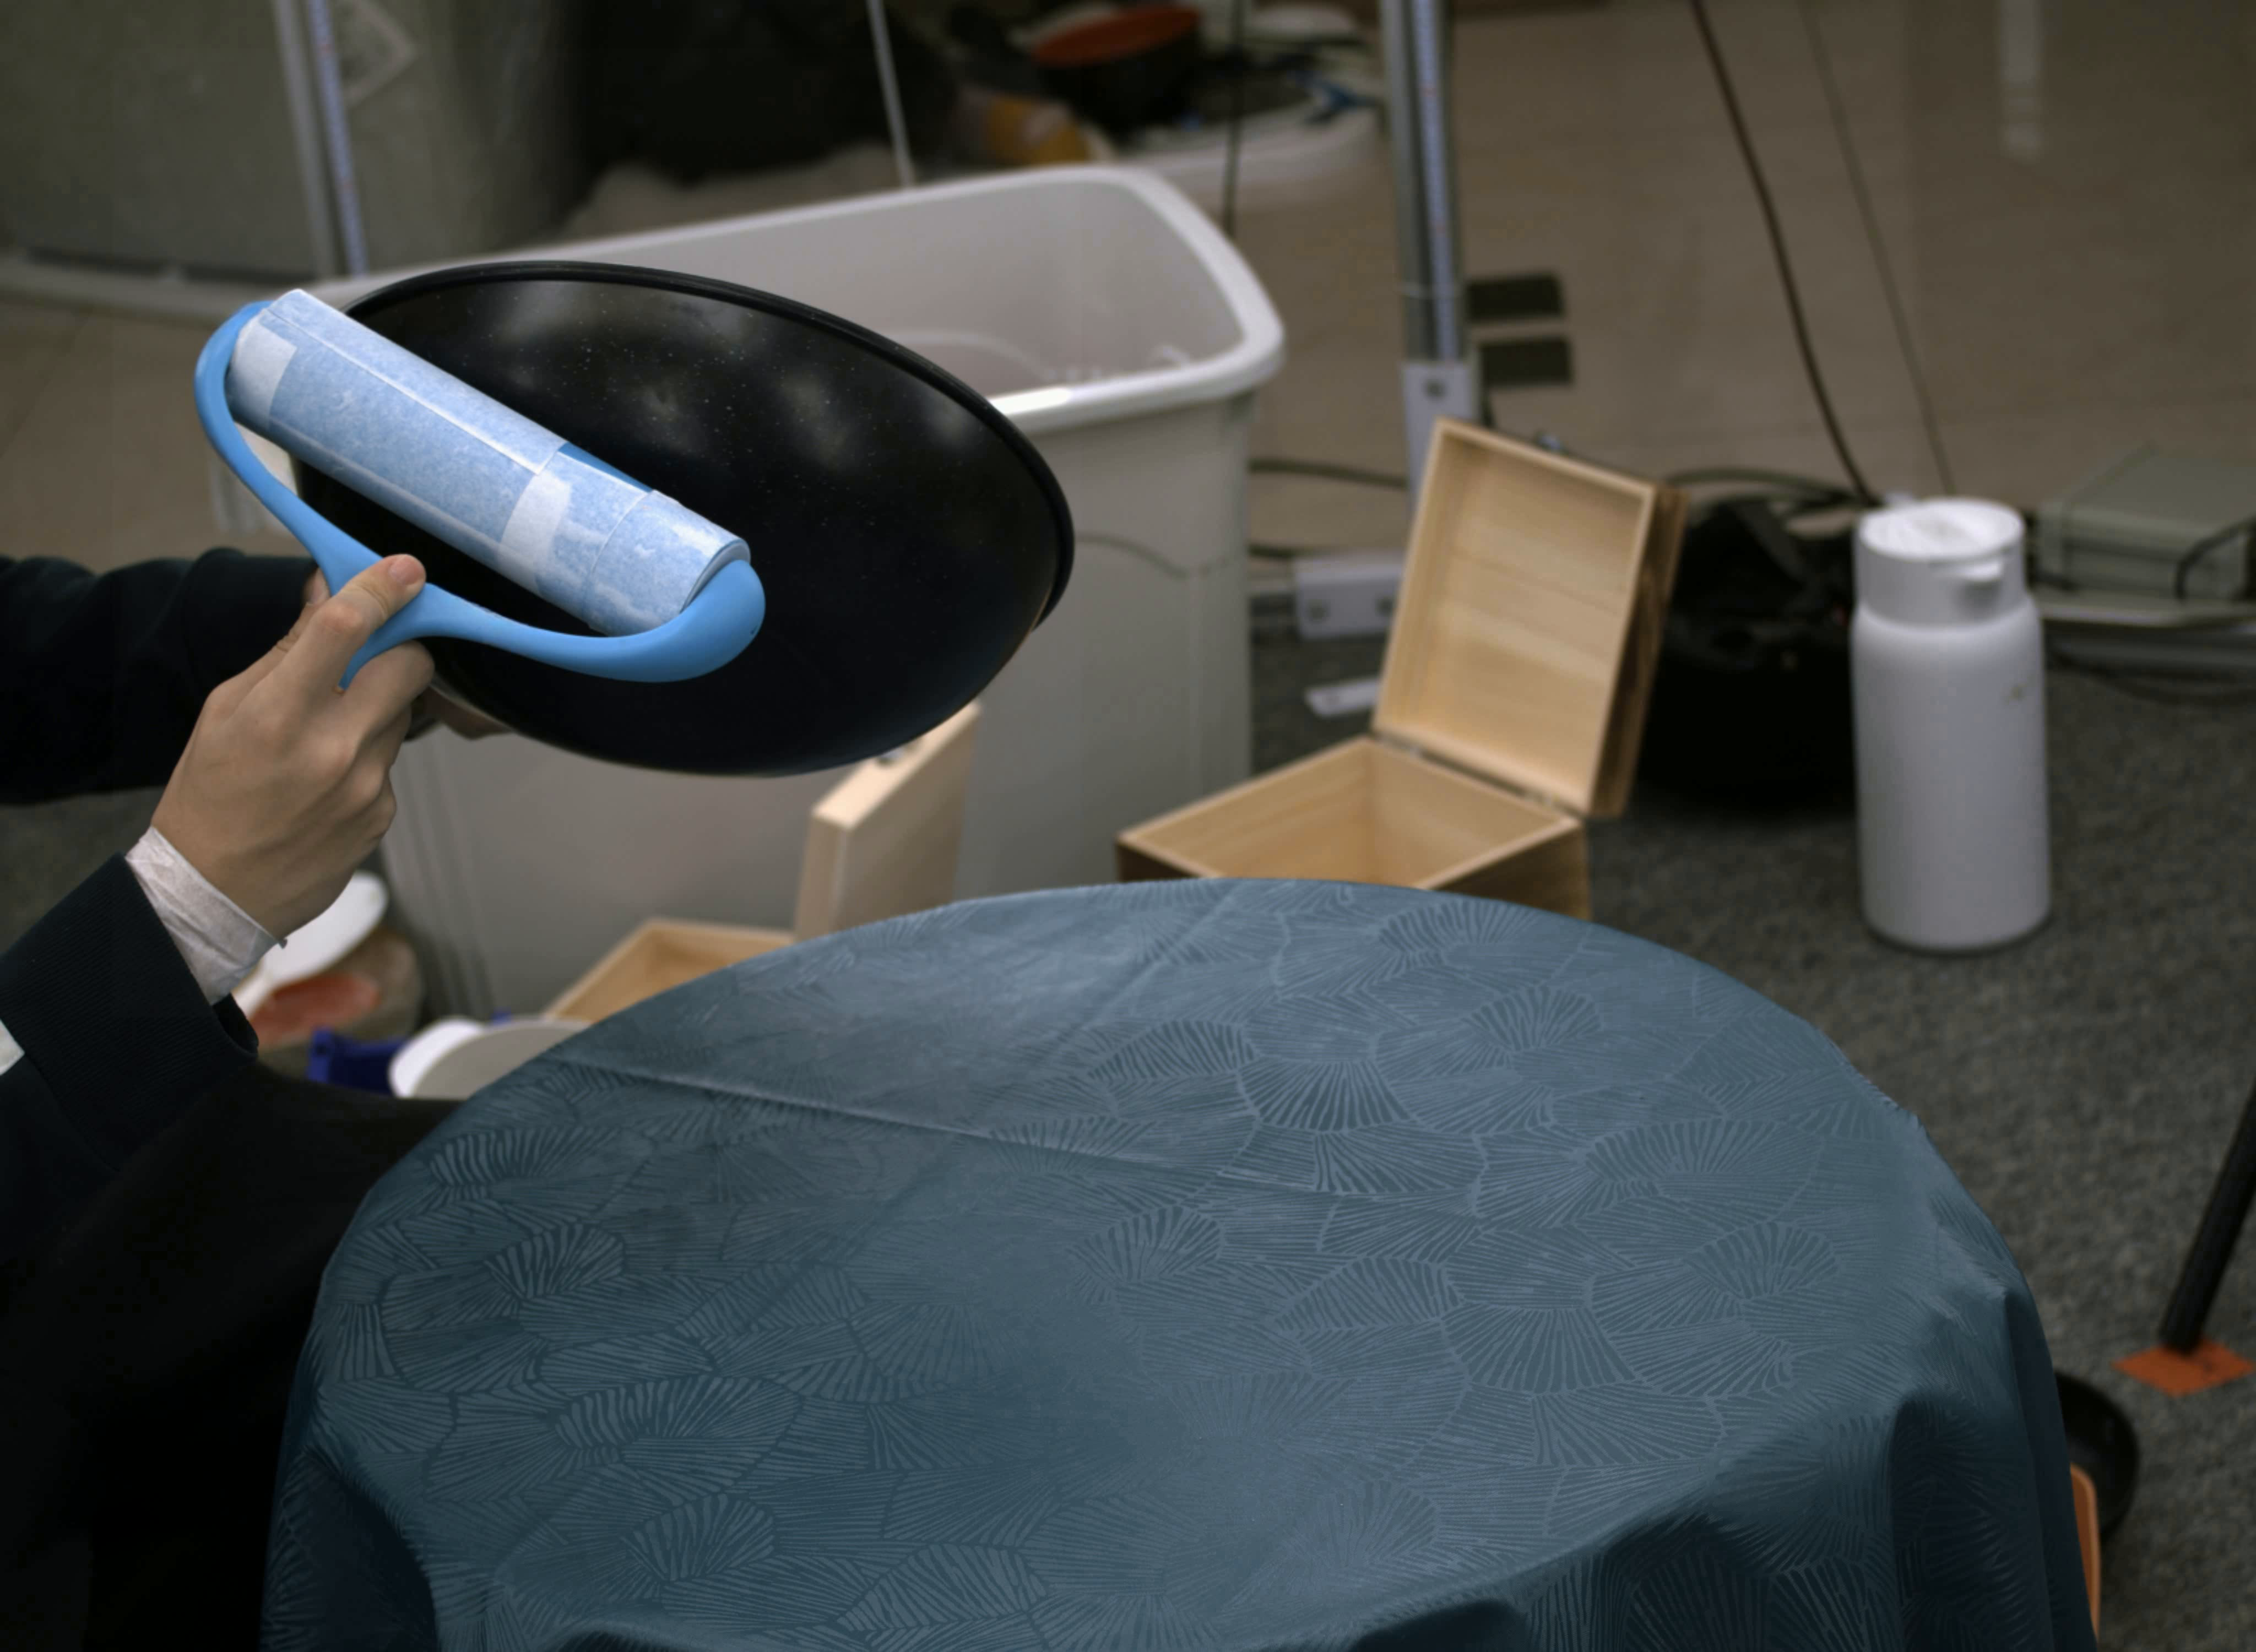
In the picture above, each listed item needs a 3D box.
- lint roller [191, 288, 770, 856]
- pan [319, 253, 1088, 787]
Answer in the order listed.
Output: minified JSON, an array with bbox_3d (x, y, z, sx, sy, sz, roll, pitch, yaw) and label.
[{"bbox_3d":[-0.255,-0.074,2.004,0.228,0.180,0.068,26,-6,9],"label":"lint roller"},{"bbox_3d":[-0.211,-0.077,2.208,0.311,0.481,0.110,22,62,-21],"label":"pan"}]
